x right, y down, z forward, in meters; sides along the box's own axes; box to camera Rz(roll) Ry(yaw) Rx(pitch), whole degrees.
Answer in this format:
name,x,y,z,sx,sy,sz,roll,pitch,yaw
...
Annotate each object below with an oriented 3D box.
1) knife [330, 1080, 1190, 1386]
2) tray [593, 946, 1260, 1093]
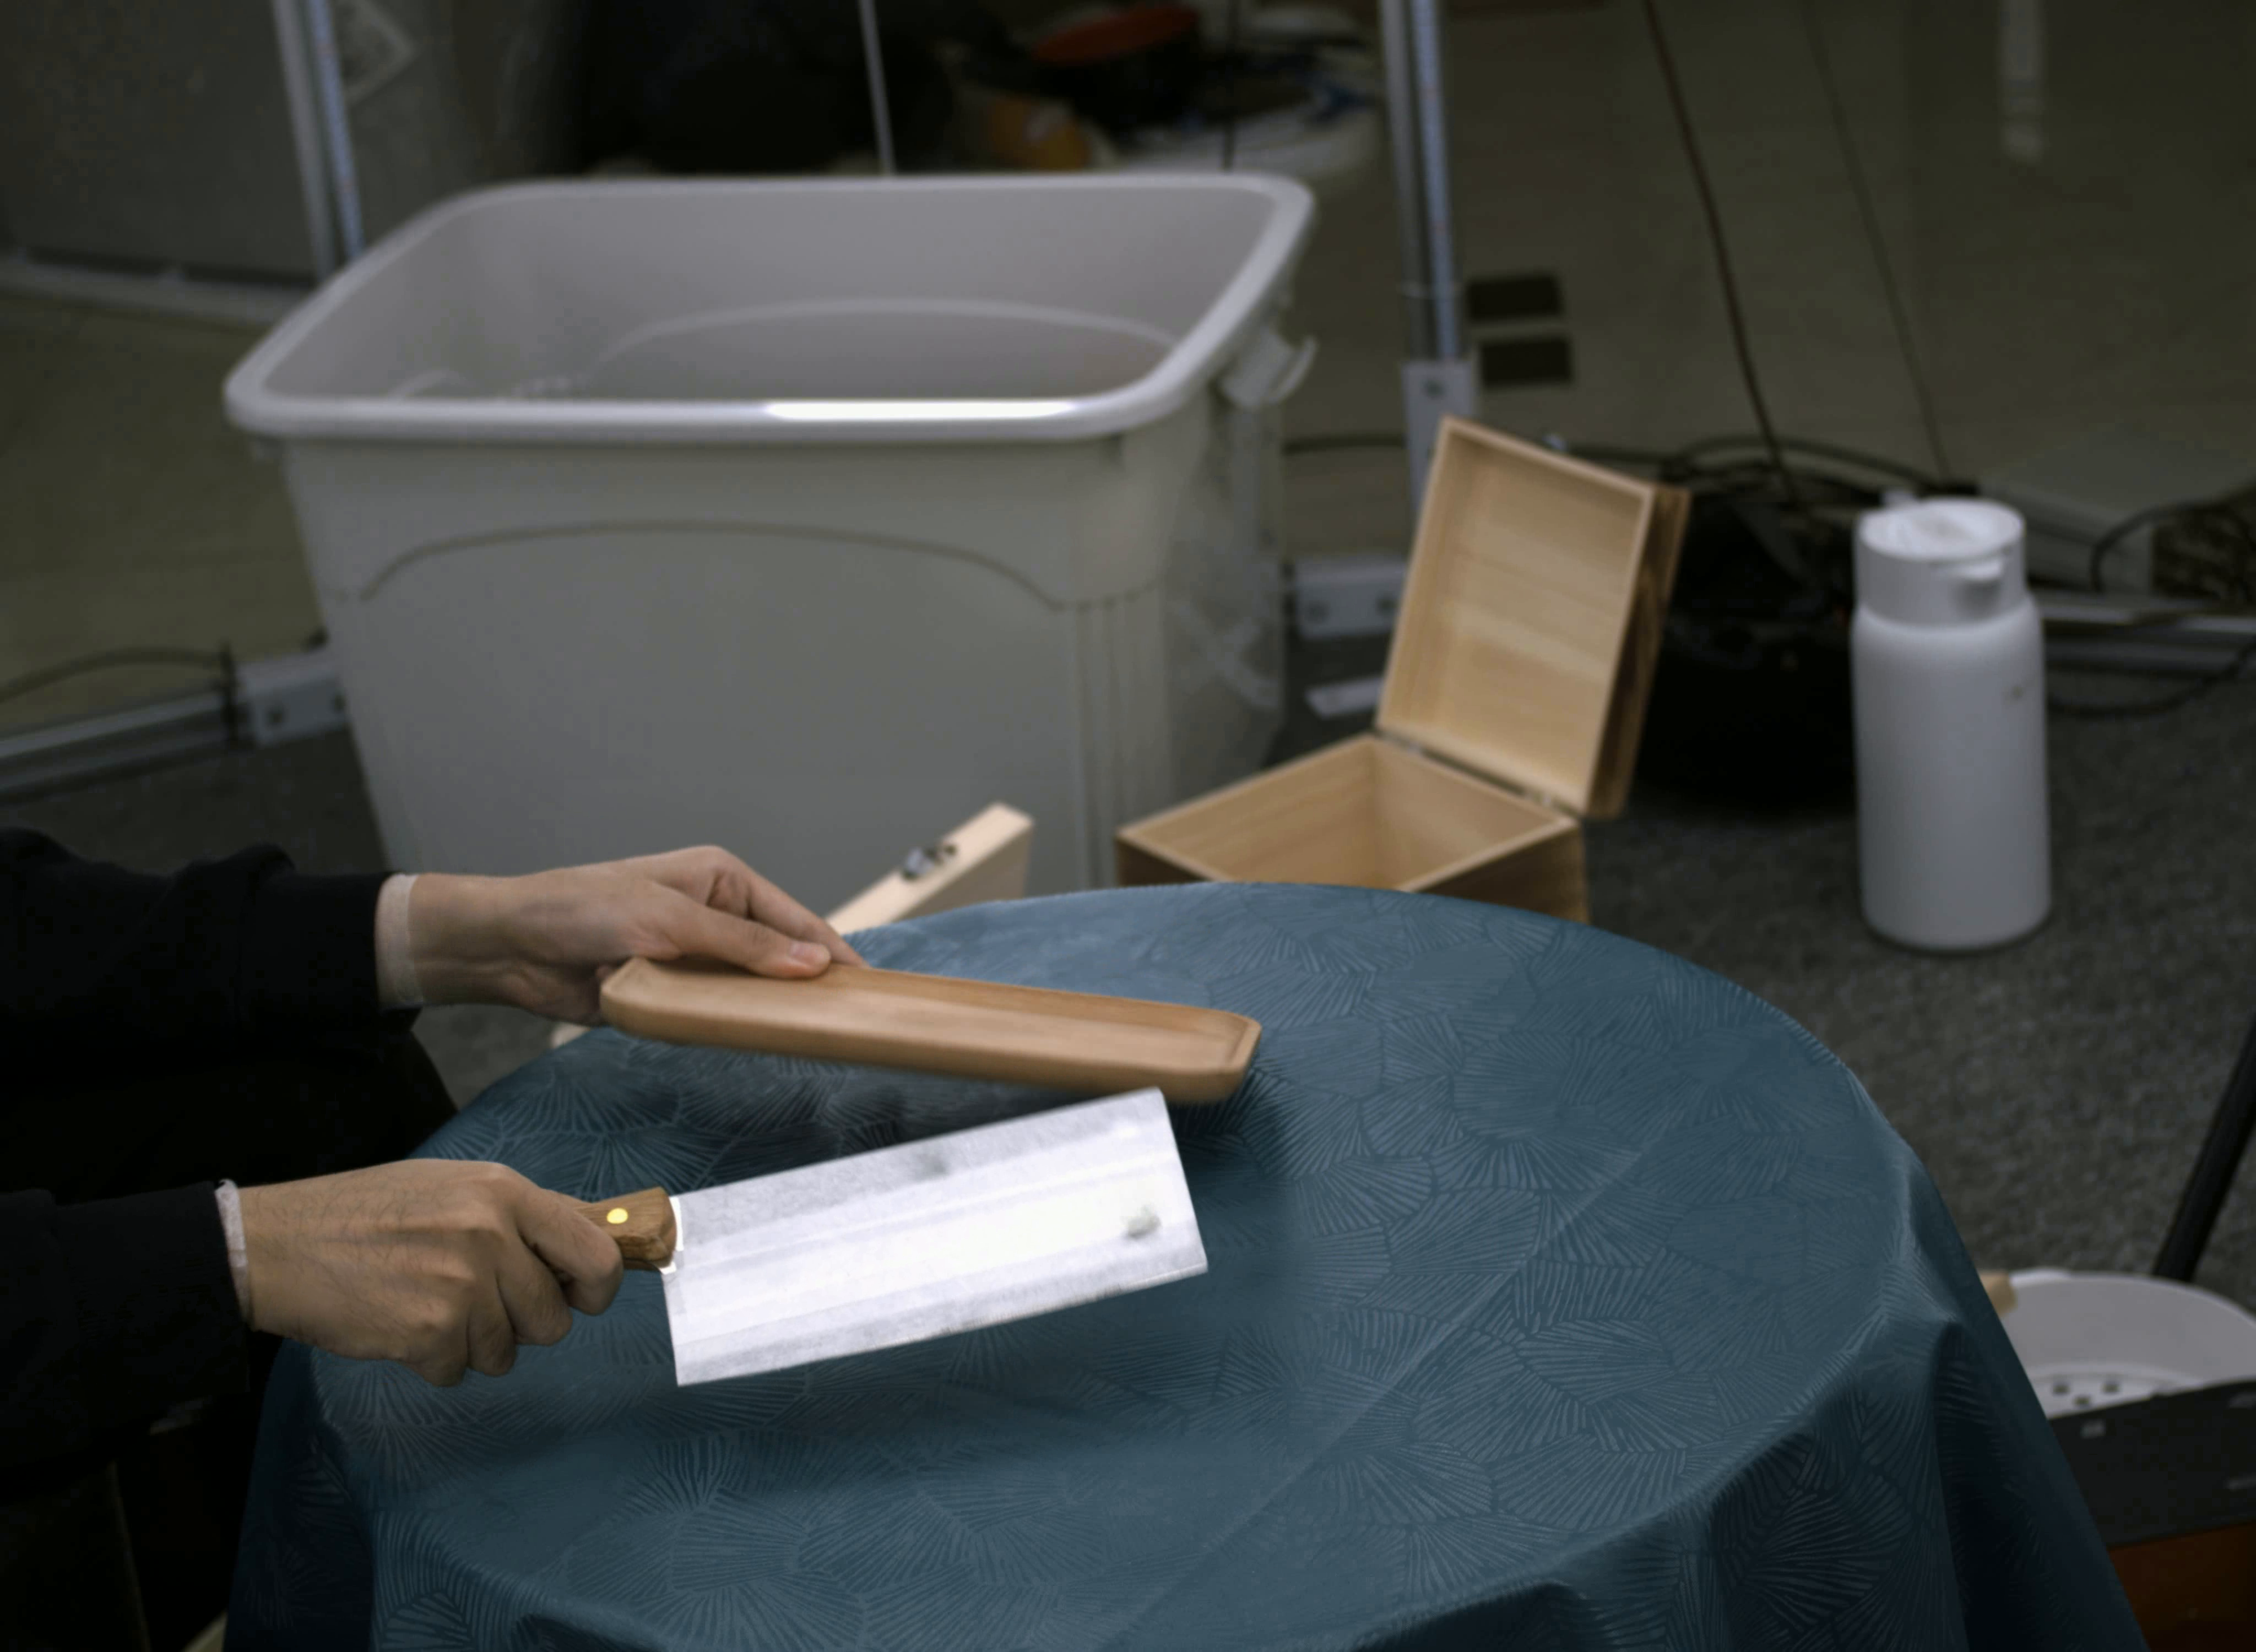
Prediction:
name,x,y,z,sx,sy,sz,roll,pitch,yaw
knife,-0.130,0.155,2.006,0.305,0.021,0.091,-14,45,-3
tray,-0.077,0.074,2.192,0.250,0.023,0.130,6,5,8
